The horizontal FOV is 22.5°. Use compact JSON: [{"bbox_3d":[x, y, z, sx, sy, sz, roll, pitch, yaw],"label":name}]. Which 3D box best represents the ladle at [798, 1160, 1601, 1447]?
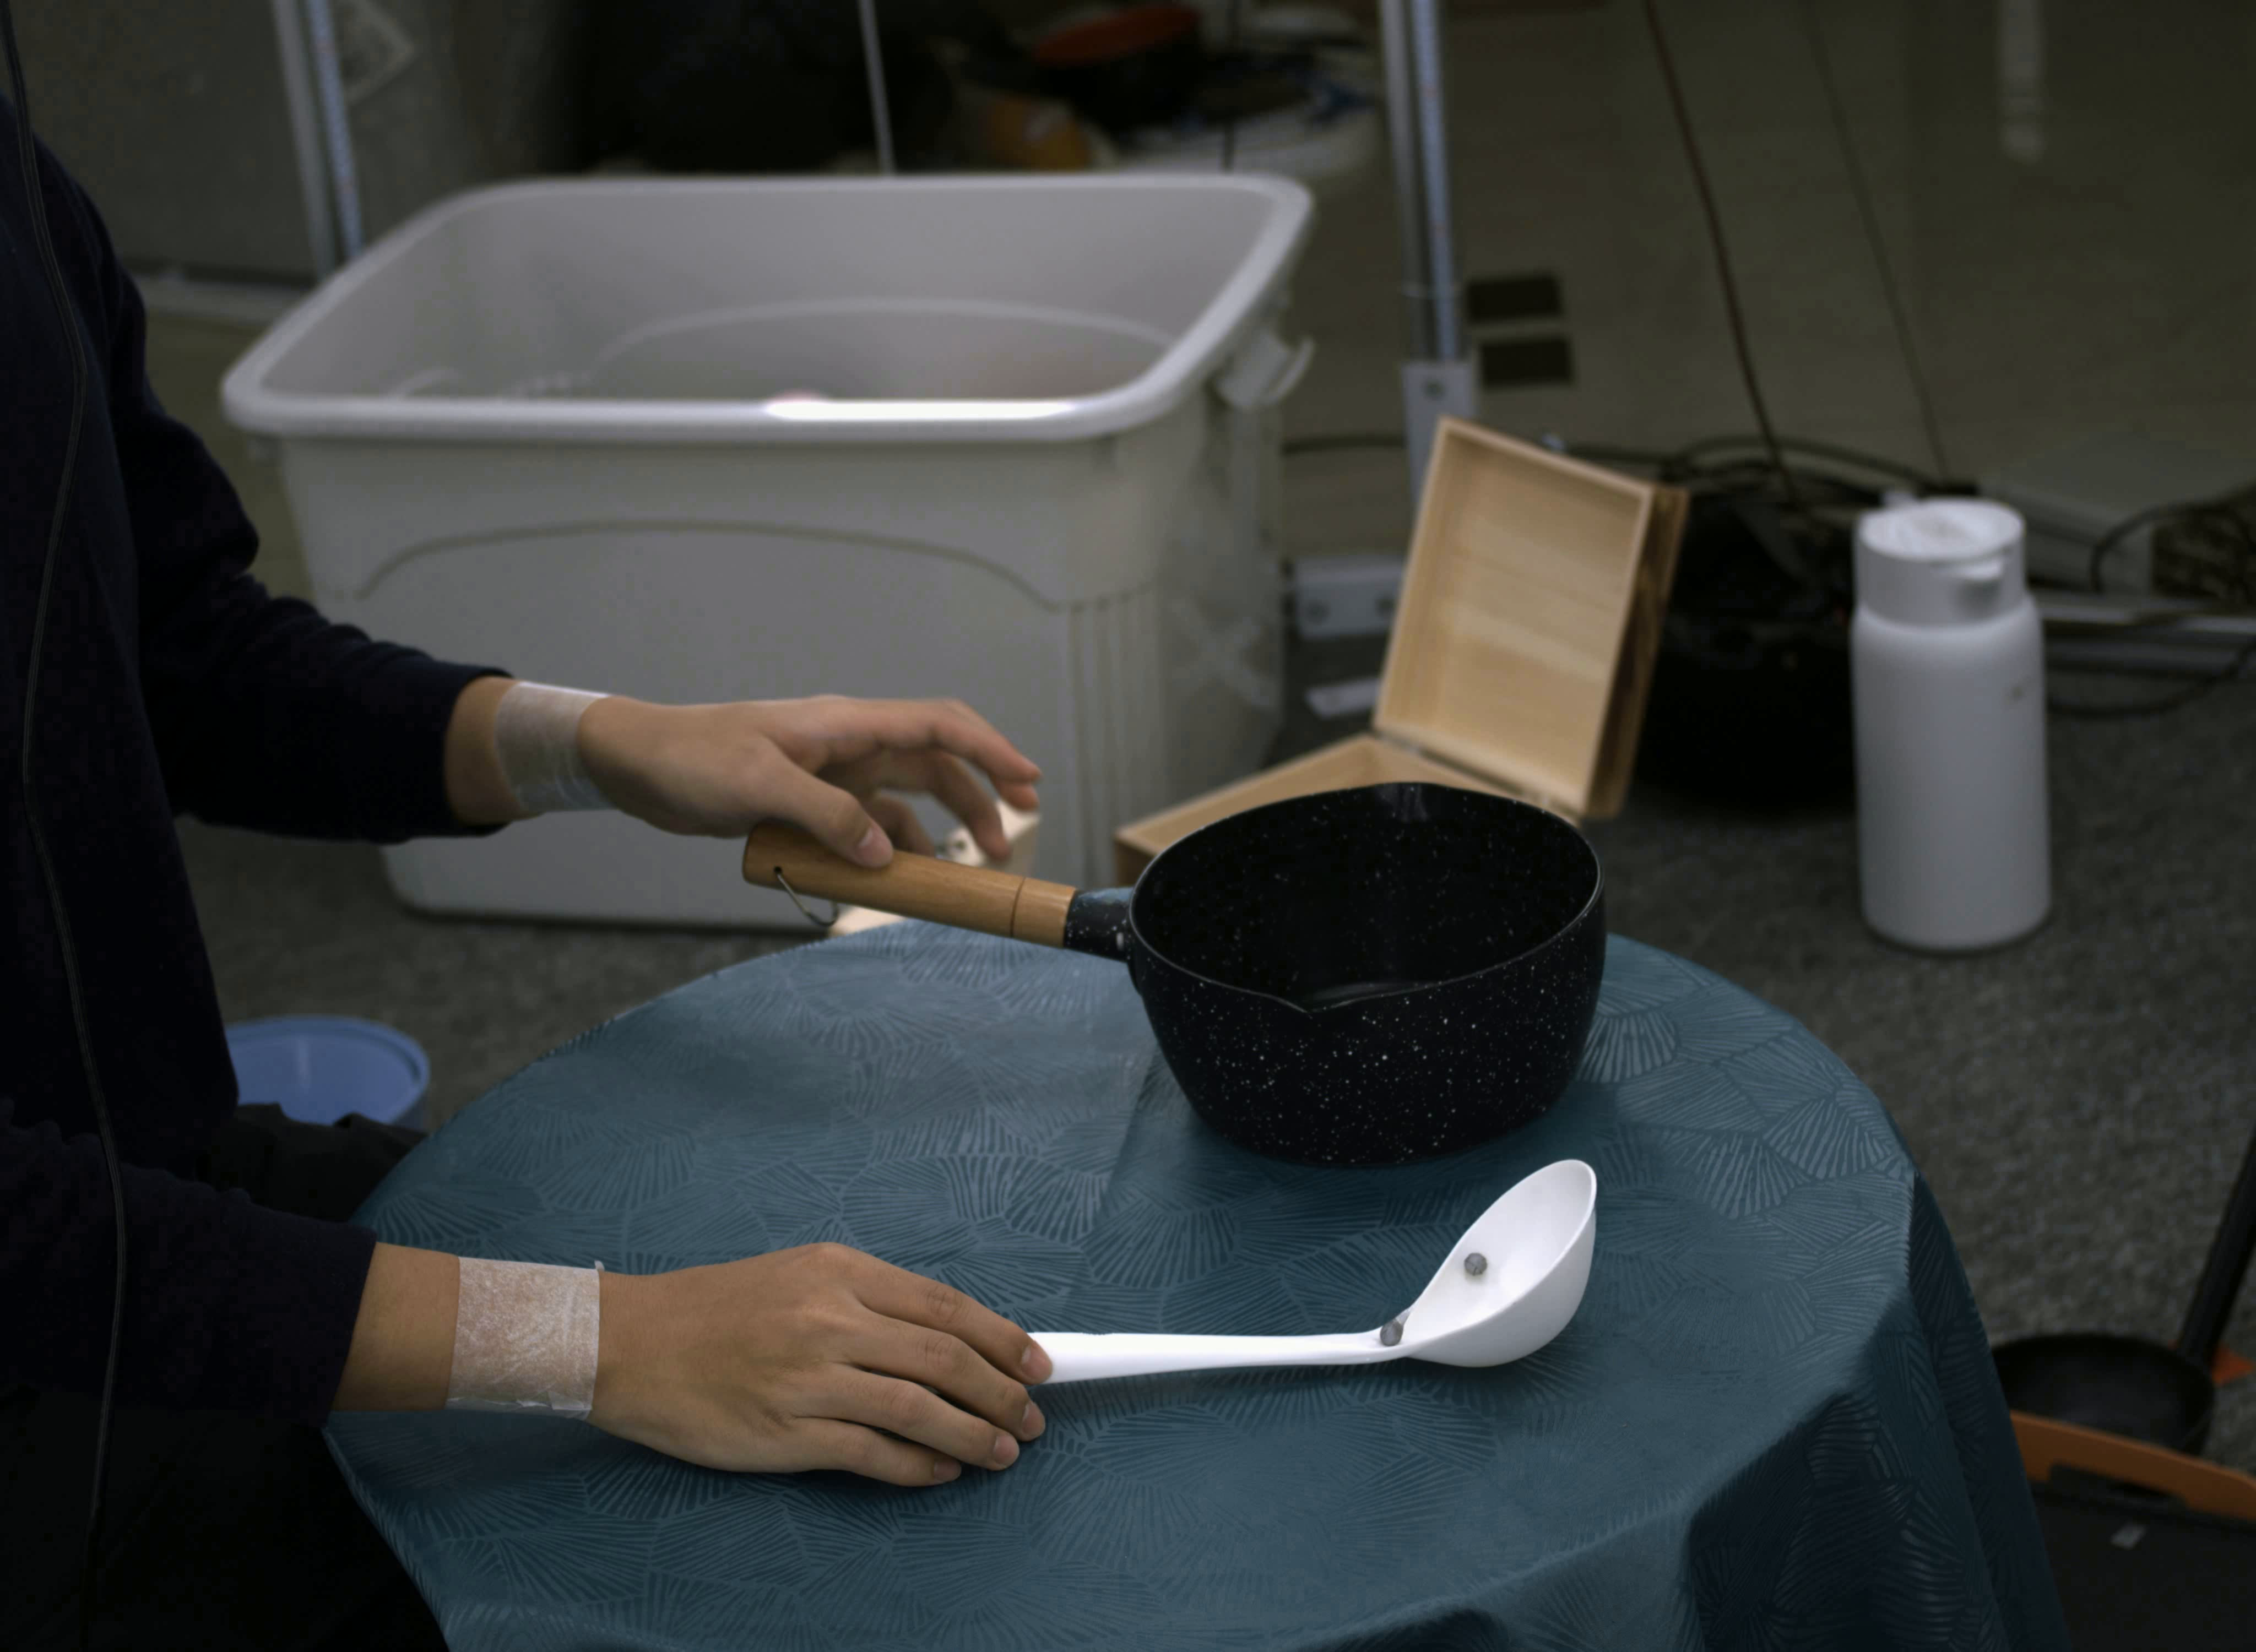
[{"bbox_3d":[0.025,0.173,2.002,0.292,0.071,0.089,-6,24,5],"label":"ladle"}]

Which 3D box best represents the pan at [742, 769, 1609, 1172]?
[{"bbox_3d":[0.017,0.050,2.203,0.342,0.110,0.204,1,27,13],"label":"pan"}]
